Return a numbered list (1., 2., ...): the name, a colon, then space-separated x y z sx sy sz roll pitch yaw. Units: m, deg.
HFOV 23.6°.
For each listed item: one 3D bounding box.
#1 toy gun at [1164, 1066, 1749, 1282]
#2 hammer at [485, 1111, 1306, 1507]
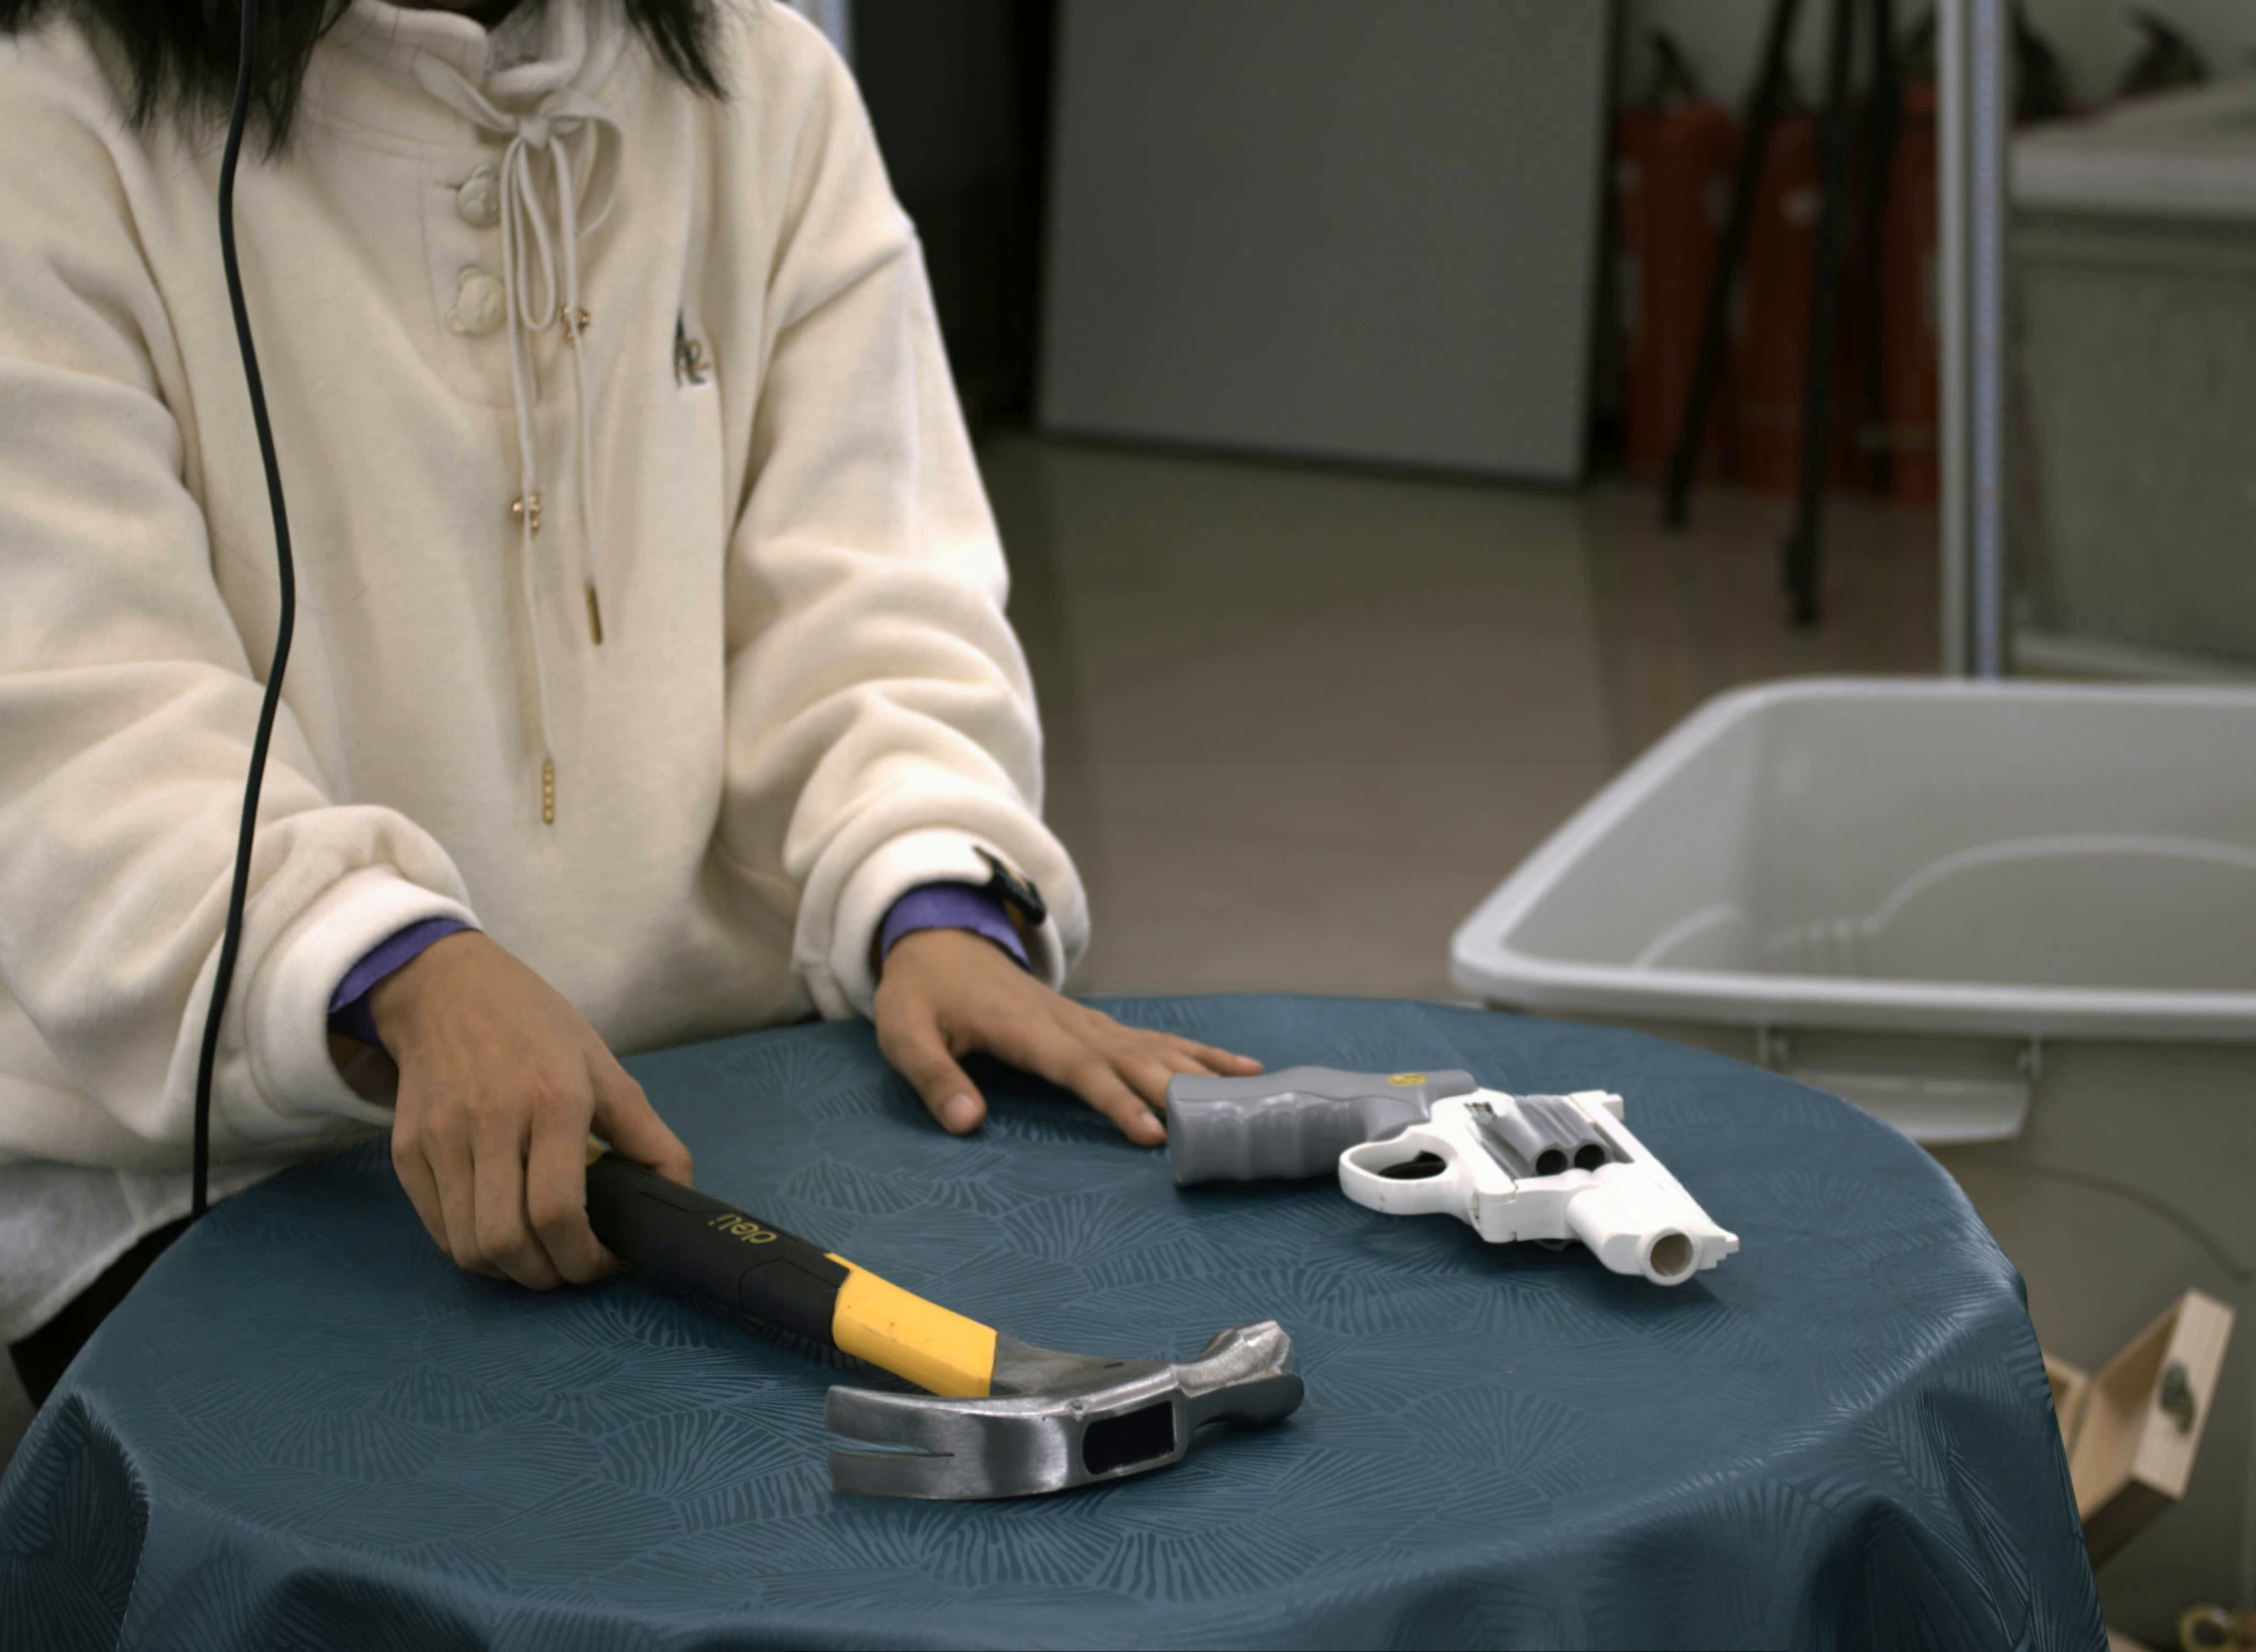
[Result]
1. toy gun: 0.098 0.109 1.707 0.139 0.039 0.210 -7 14 -12
2. hammer: -0.098 0.138 1.642 0.128 0.032 0.342 -16 20 -33
